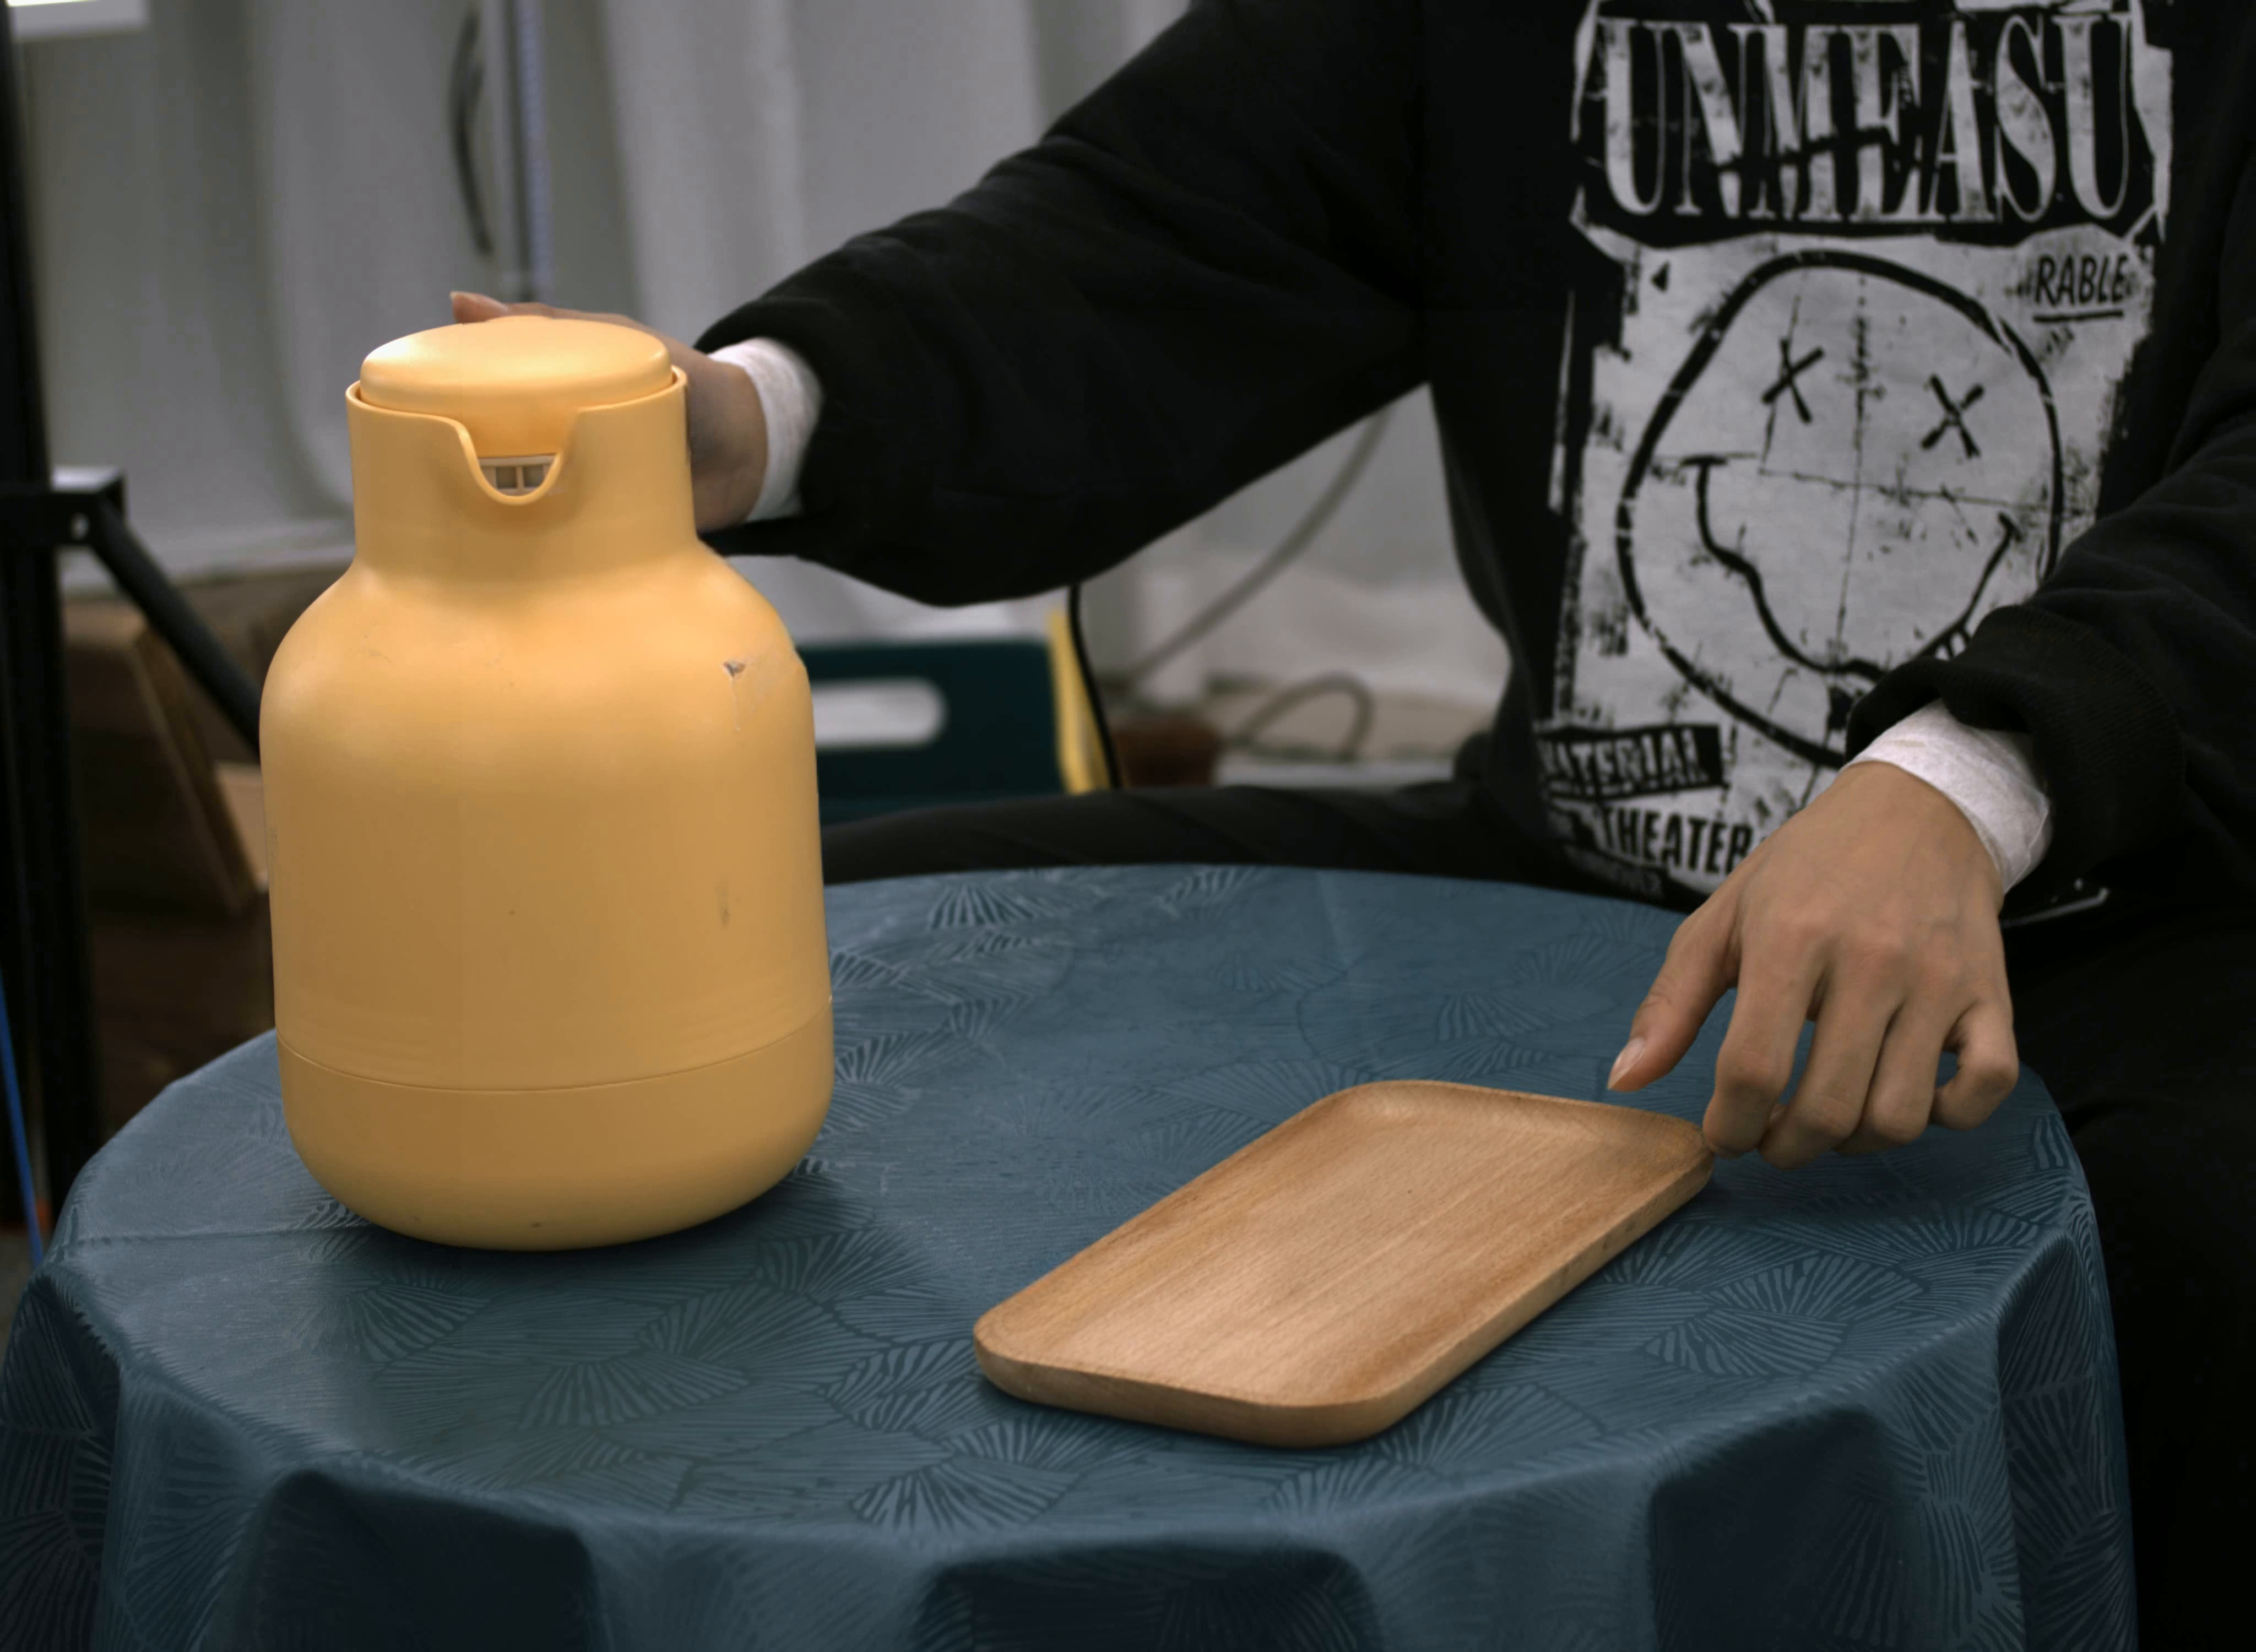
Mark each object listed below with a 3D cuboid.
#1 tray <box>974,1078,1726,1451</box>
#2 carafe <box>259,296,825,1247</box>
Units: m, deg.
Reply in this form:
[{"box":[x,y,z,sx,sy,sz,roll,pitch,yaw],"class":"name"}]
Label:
[{"box":[0.066,0.119,1.474,0.133,0.023,0.246,10,19,30],"class":"tray"},{"box":[-0.171,-0.024,1.569,0.162,0.260,0.203,0,17,-2],"class":"carafe"}]
